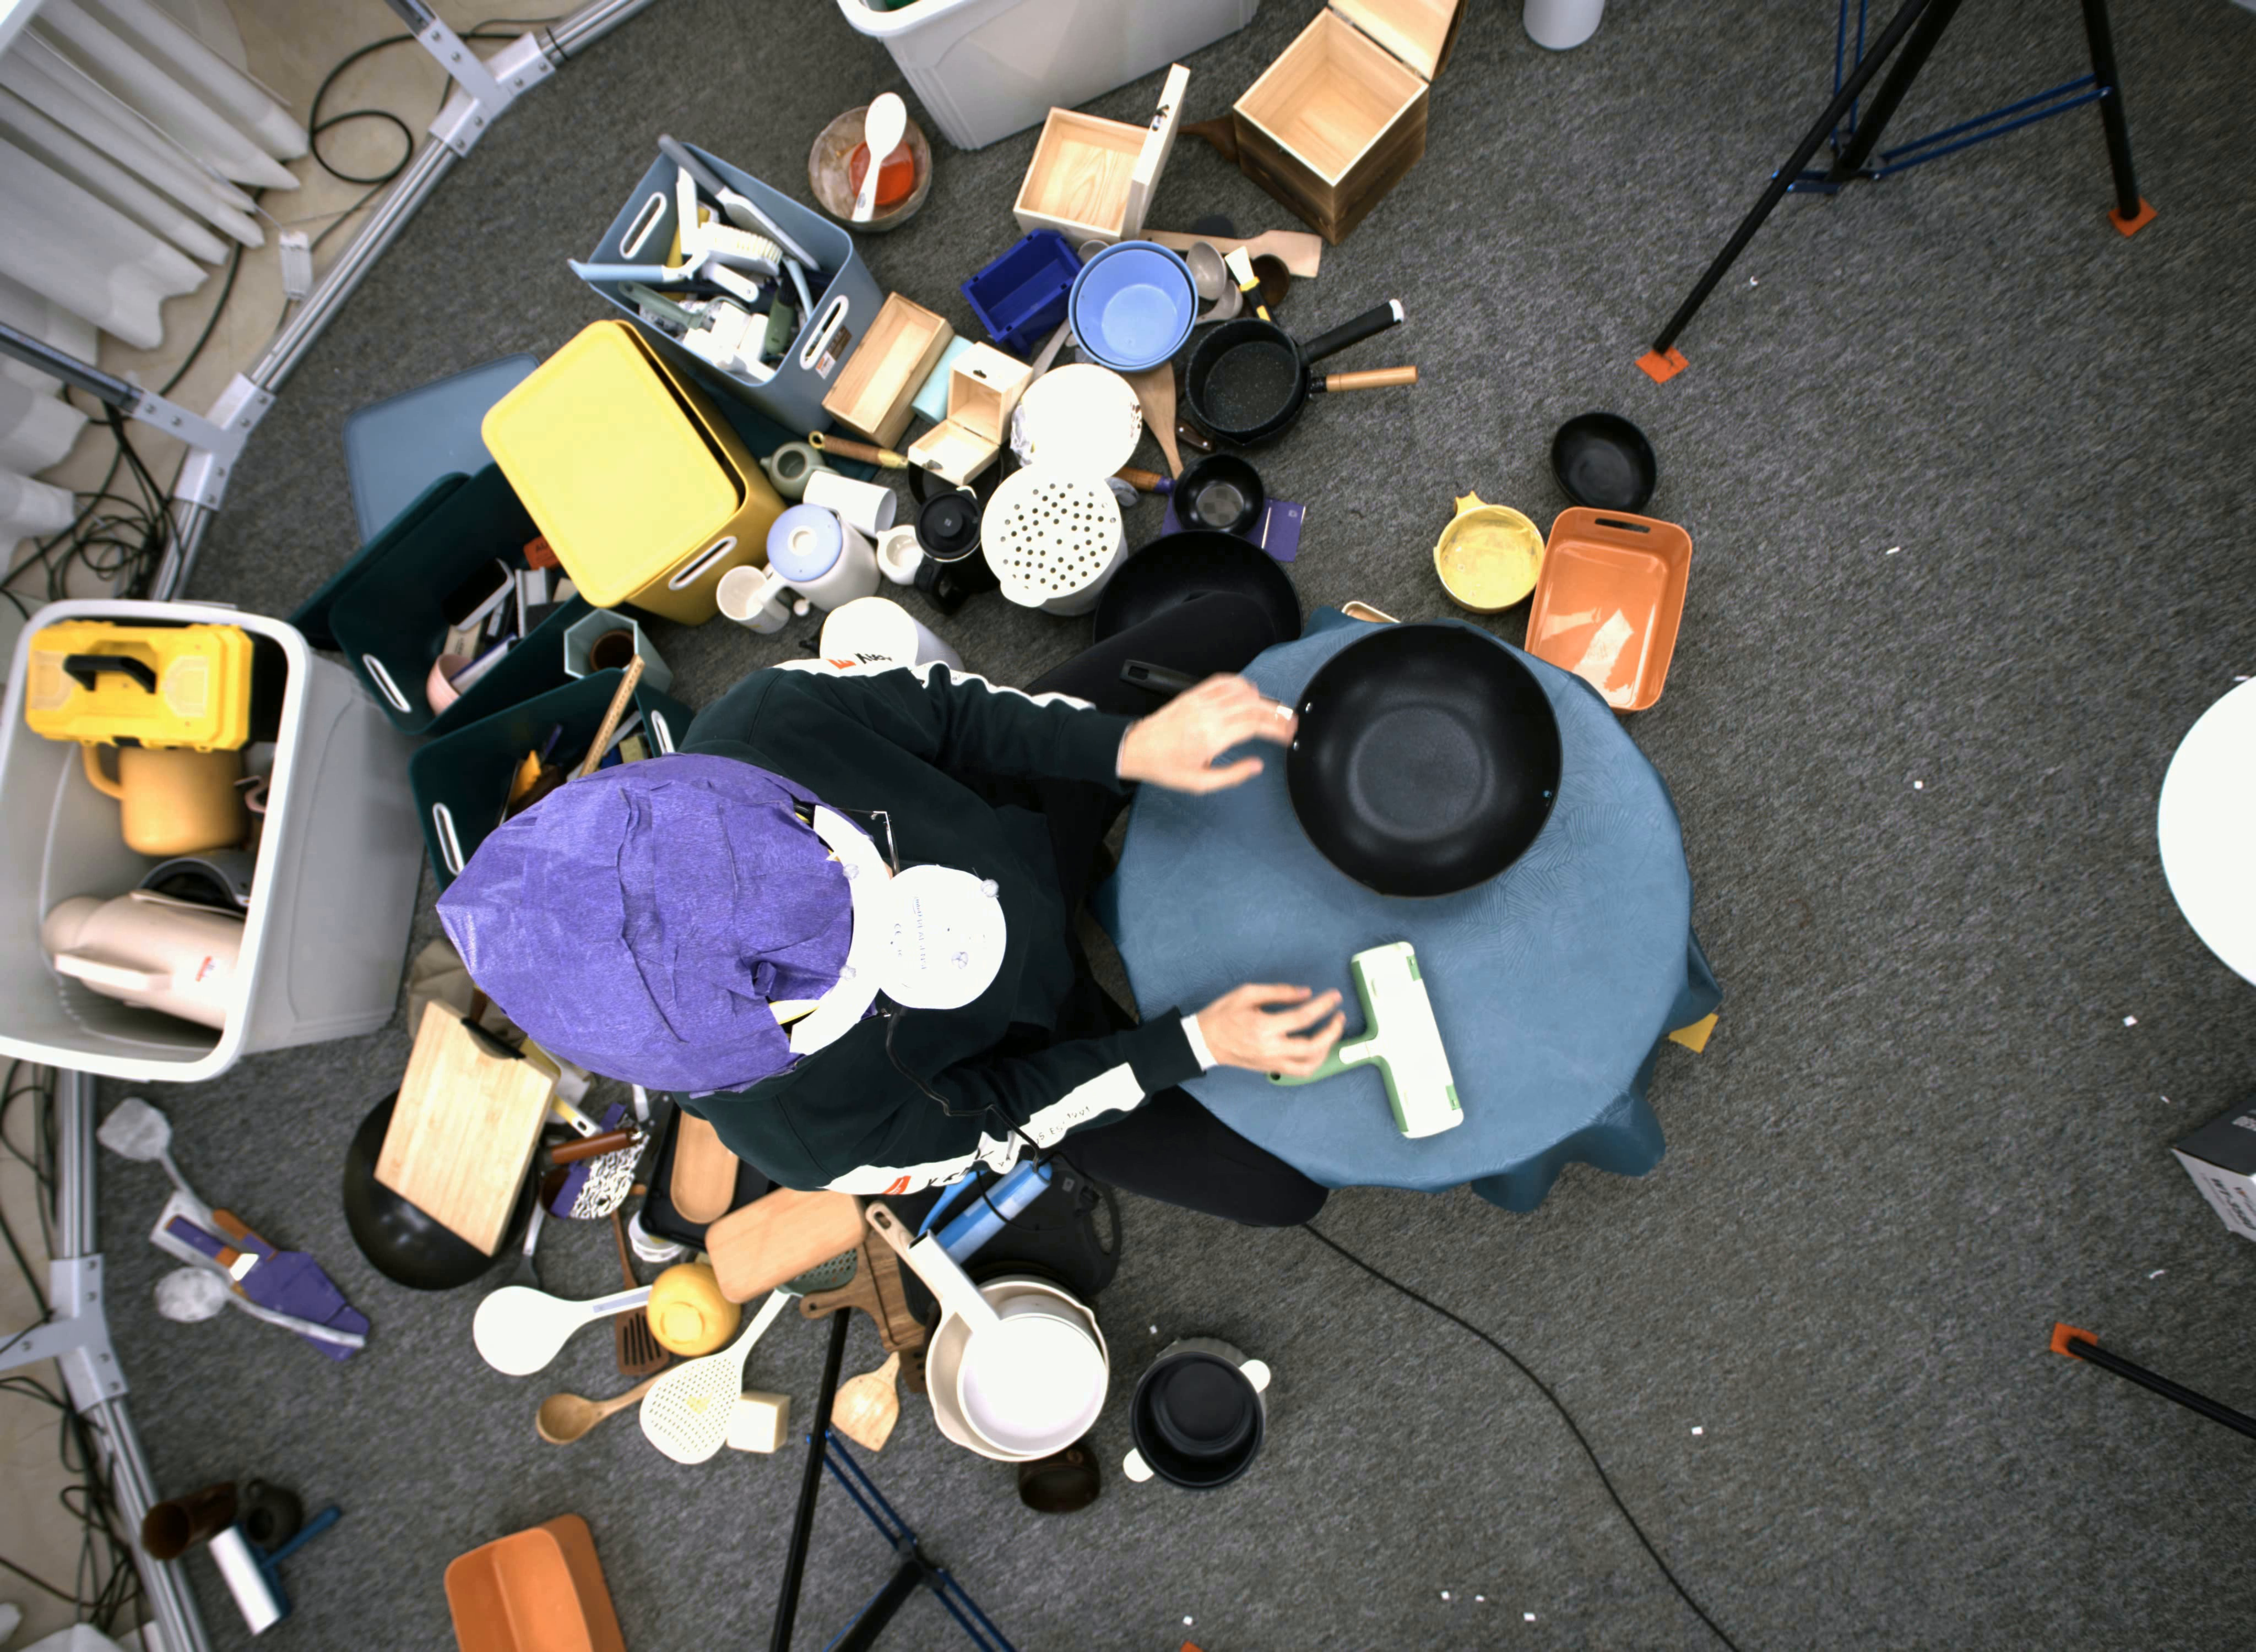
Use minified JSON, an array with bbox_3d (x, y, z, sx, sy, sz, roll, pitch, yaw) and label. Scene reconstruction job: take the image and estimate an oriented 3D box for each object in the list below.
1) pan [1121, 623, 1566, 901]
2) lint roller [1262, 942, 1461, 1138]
[{"bbox_3d":[0.216,-0.090,1.431,0.463,0.087,0.287,17,89,12],"label":"pan"},{"bbox_3d":[0.227,0.232,1.417,0.184,0.082,0.197,-16,84,4],"label":"lint roller"}]
